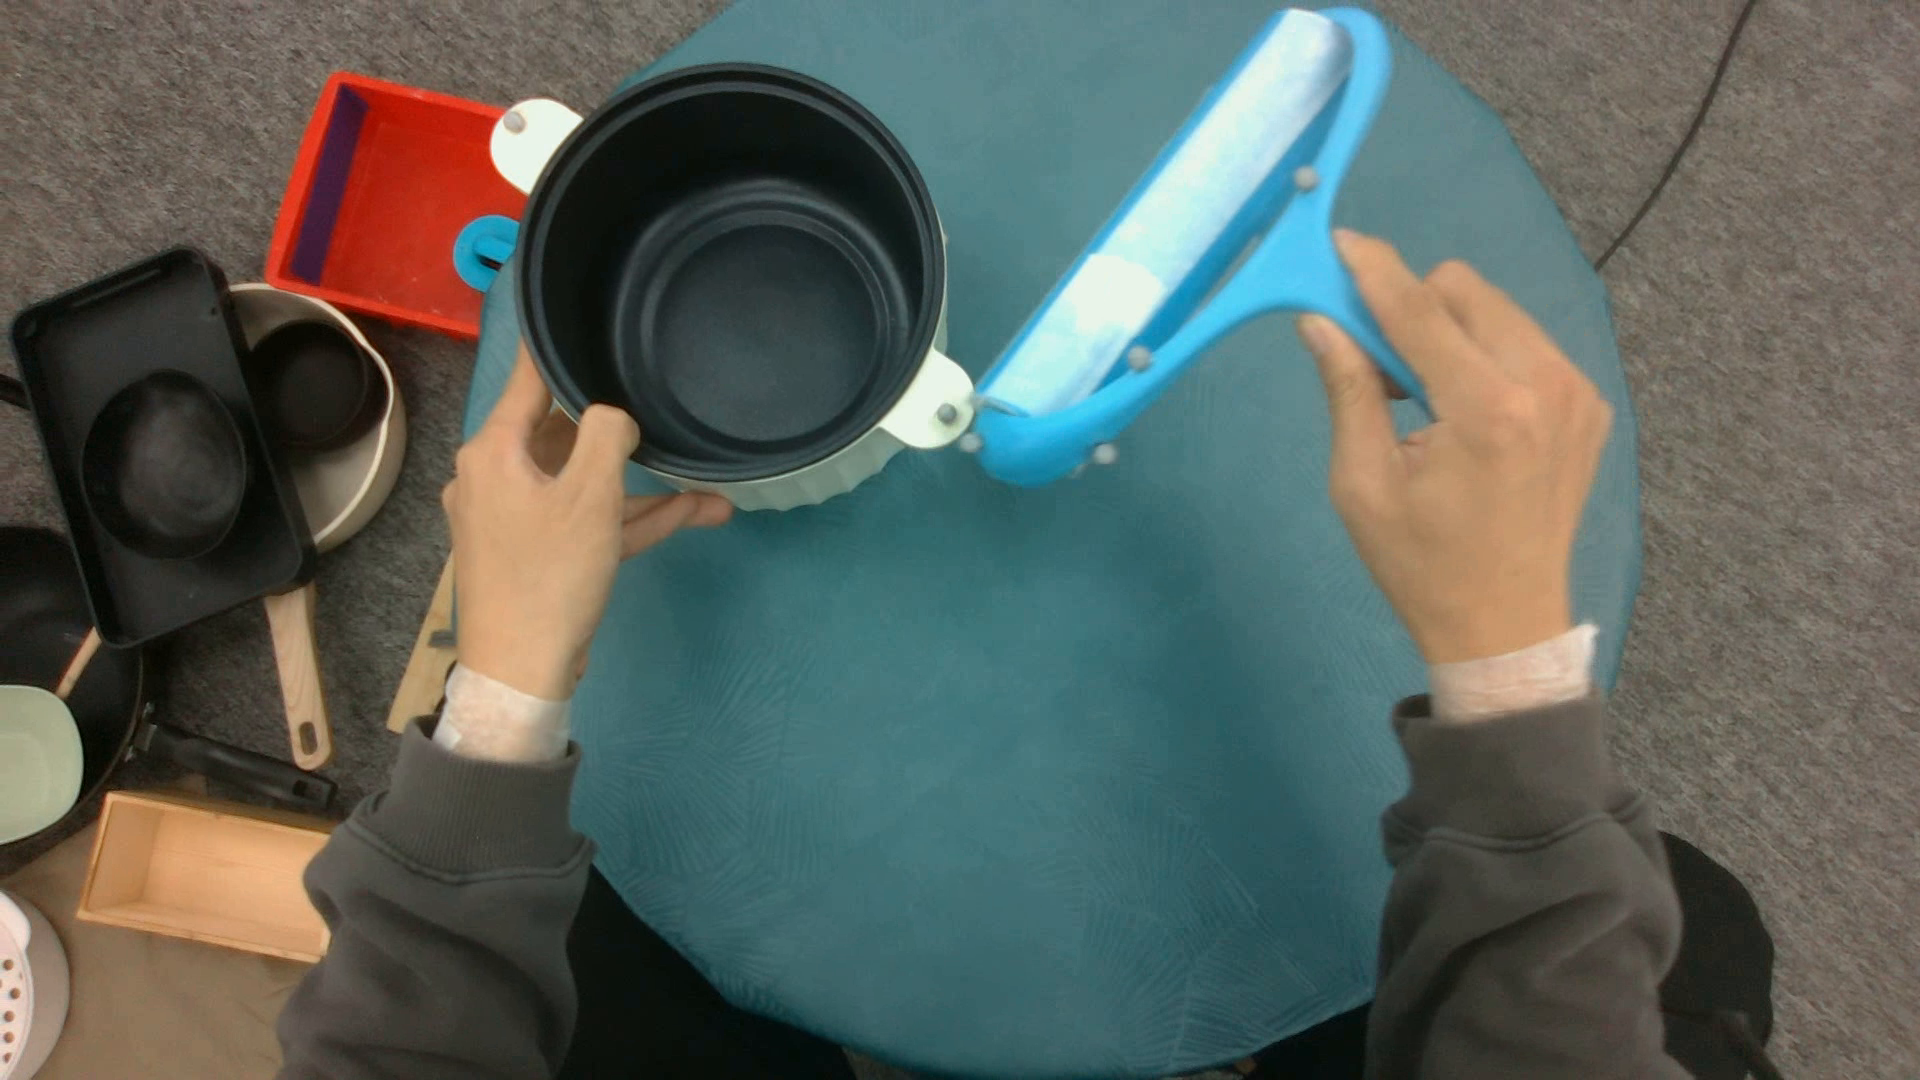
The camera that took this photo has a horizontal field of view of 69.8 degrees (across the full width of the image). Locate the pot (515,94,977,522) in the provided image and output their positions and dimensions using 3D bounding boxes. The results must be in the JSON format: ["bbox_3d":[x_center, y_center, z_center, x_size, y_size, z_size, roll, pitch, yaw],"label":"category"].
[{"bbox_3d":[-0.089,-0.105,0.662,0.240,0.142,0.190,33,87,5],"label":"pot"}]

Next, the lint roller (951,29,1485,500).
[{"bbox_3d":[0.118,-0.085,0.528,0.180,0.068,0.229,32,82,27],"label":"lint roller"}]
